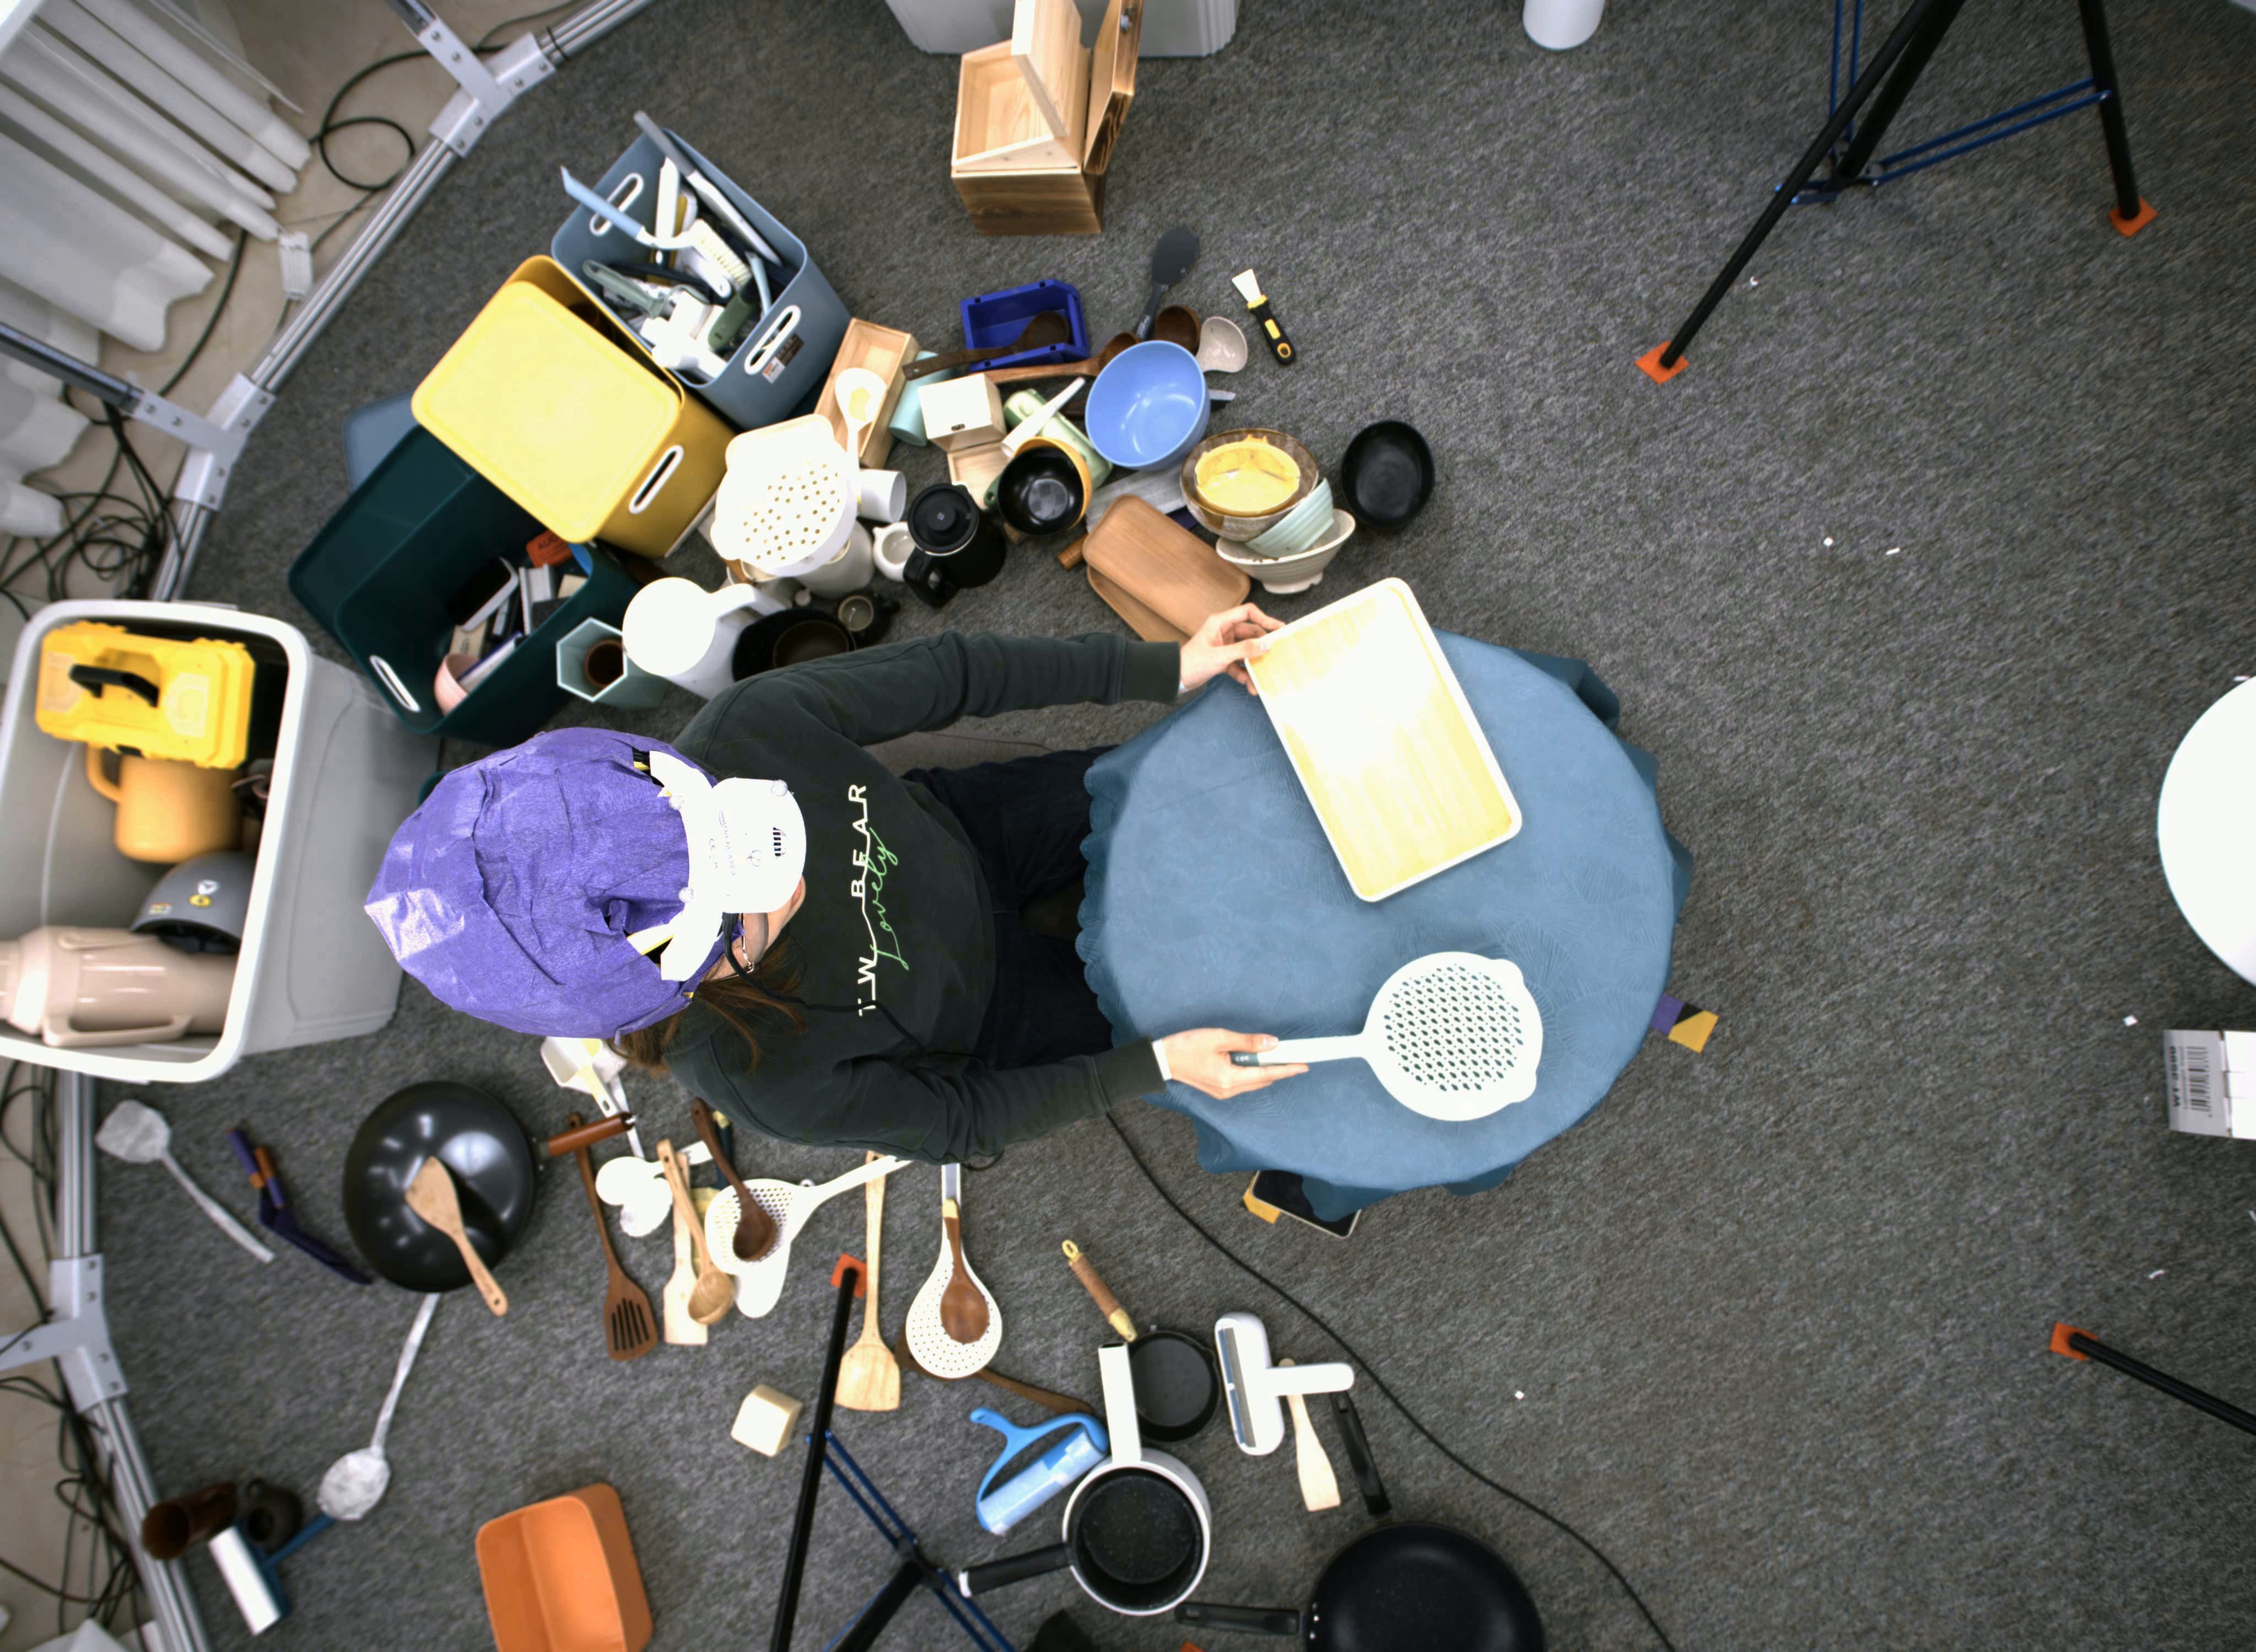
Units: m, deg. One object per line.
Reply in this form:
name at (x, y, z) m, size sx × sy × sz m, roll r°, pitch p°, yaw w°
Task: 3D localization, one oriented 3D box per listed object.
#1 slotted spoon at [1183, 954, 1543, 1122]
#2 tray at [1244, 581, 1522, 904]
slotted spoon at (0.232, 0.221, 1.402) m, size 0.360 × 0.075 × 0.169 m, roll -8°, pitch 94°, yaw 6°
tray at (0.265, -0.089, 1.441) m, size 0.192 × 0.027 × 0.299 m, roll -25°, pitch 88°, yaw 3°
